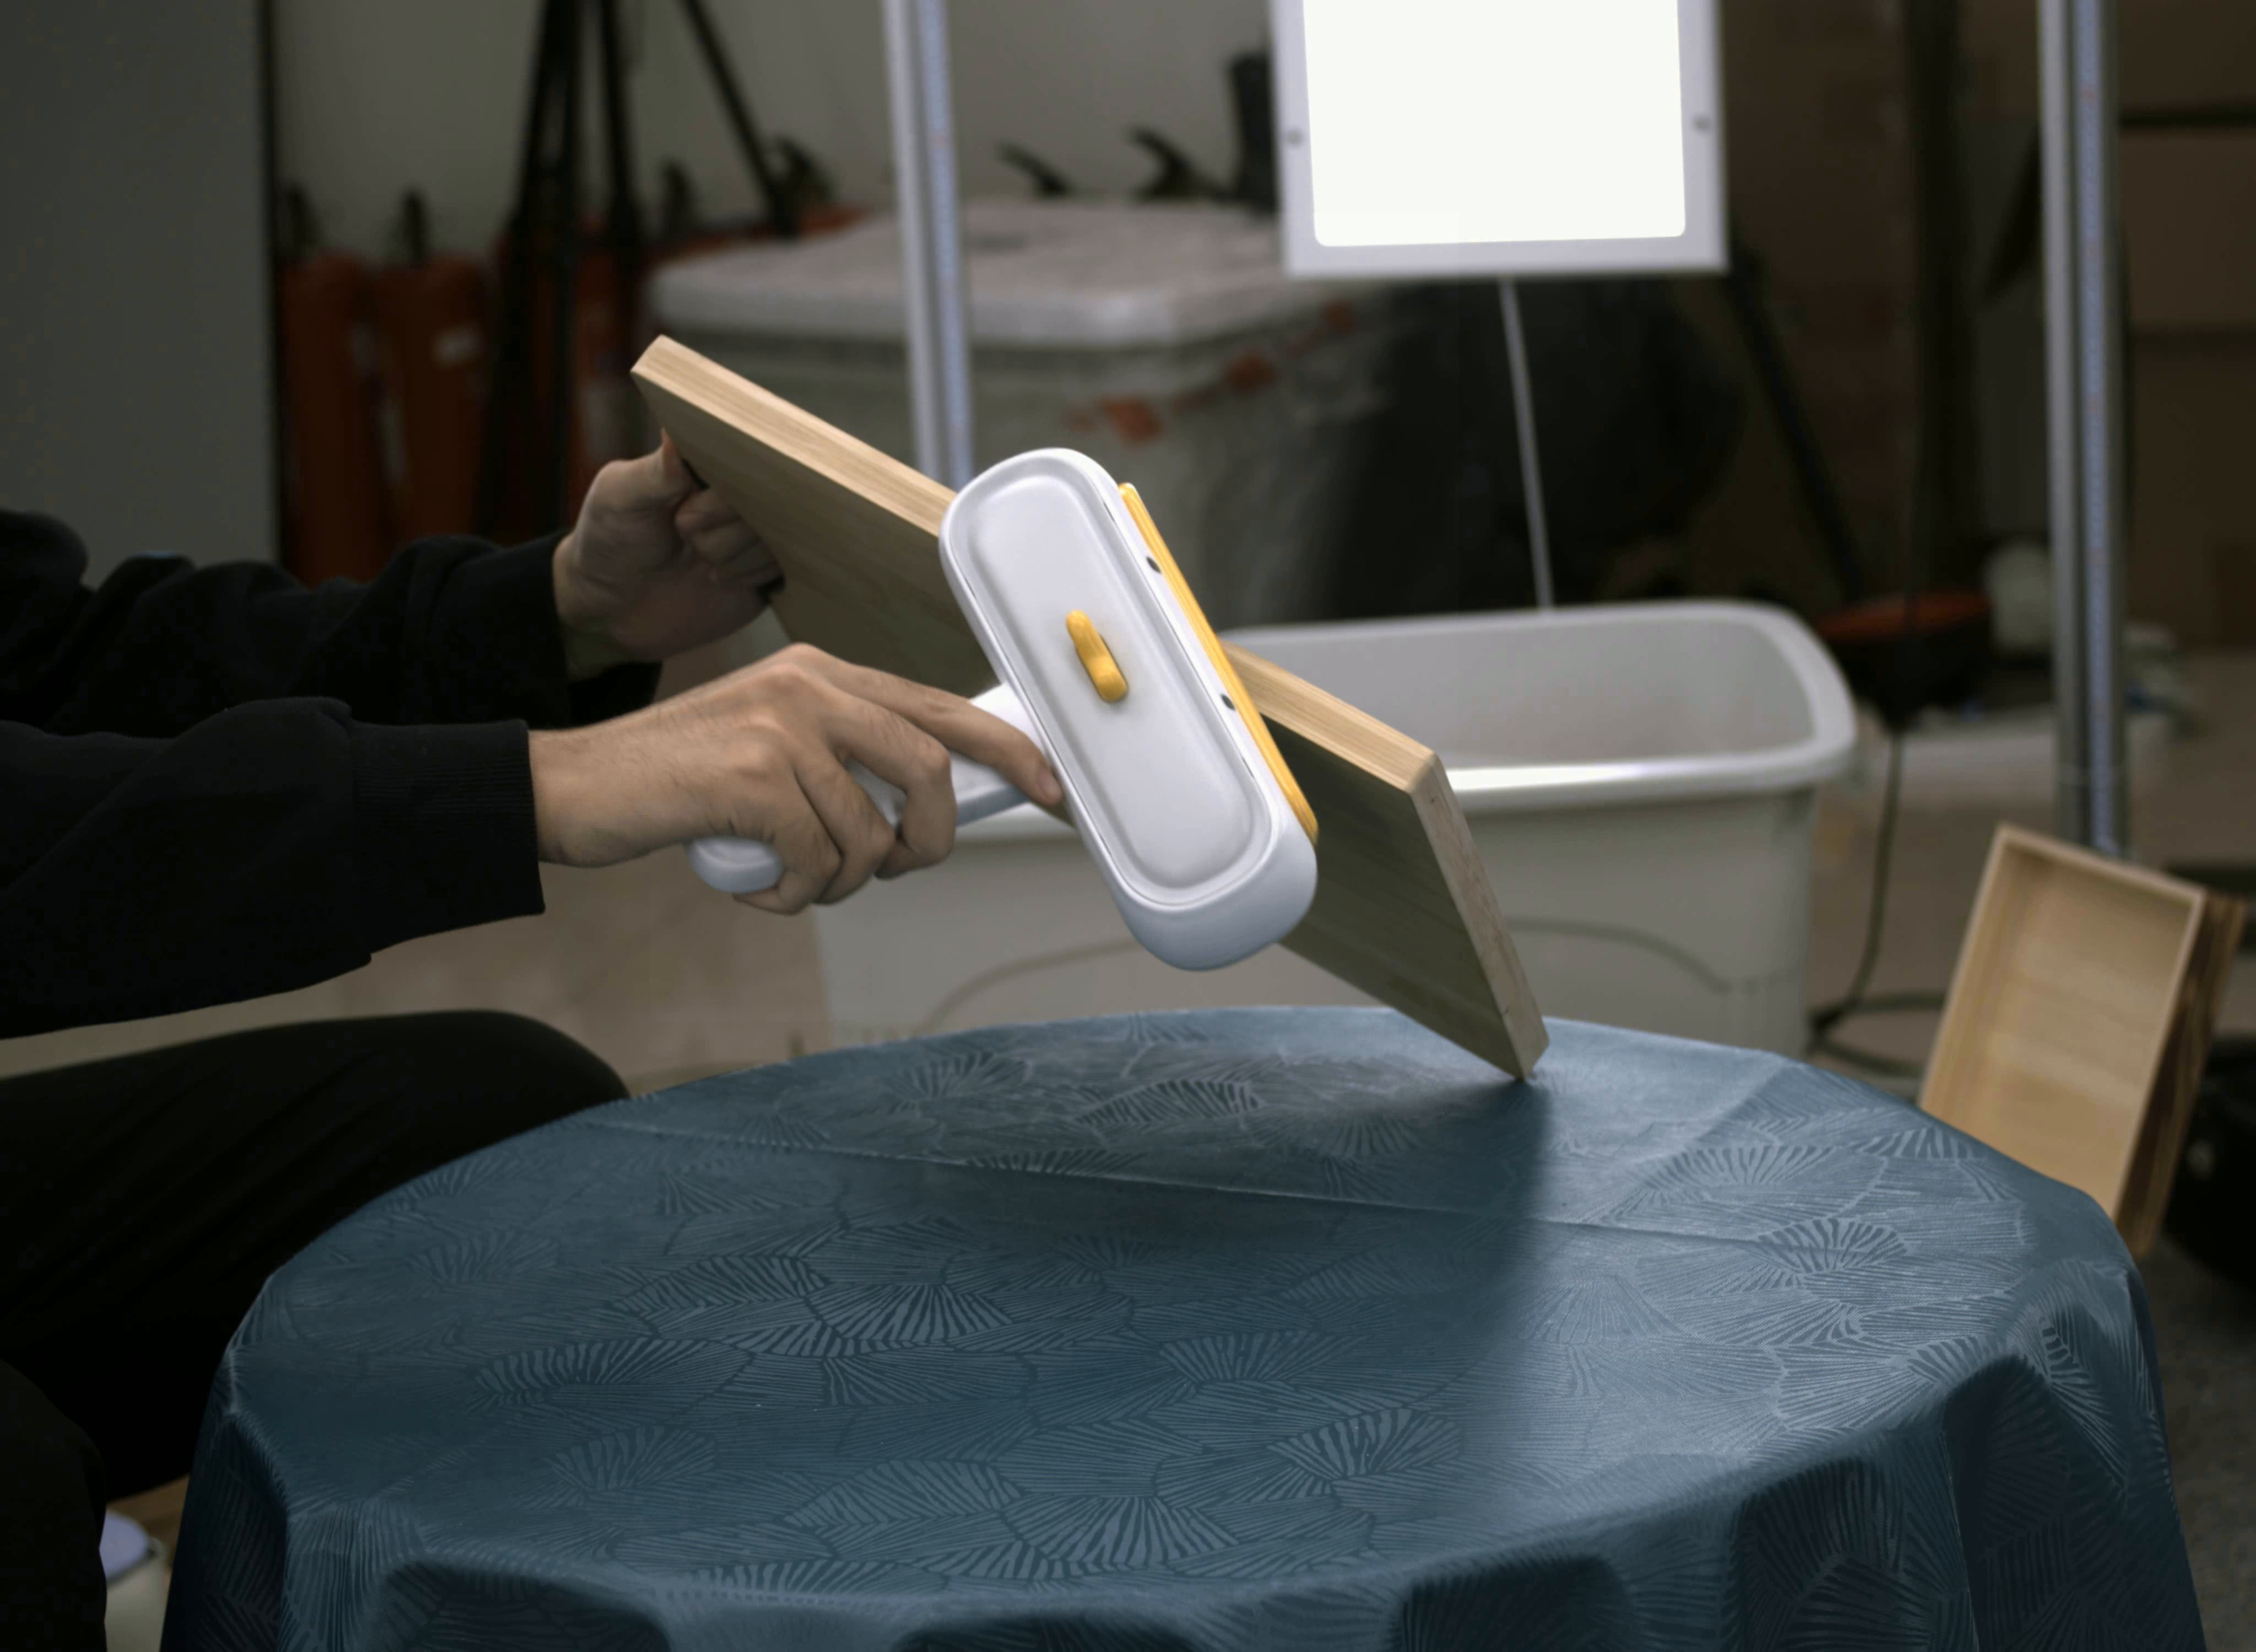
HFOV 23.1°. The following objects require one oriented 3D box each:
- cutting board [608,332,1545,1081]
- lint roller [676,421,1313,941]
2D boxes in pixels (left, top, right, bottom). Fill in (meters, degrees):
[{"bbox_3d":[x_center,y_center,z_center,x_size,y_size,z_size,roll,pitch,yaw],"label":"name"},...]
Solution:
[{"bbox_3d":[-0.017,-0.042,1.964,0.353,0.249,0.023,29,74,26],"label":"cutting board"},{"bbox_3d":[-0.057,-0.024,1.785,0.191,0.194,0.074,-28,-22,-6],"label":"lint roller"}]
